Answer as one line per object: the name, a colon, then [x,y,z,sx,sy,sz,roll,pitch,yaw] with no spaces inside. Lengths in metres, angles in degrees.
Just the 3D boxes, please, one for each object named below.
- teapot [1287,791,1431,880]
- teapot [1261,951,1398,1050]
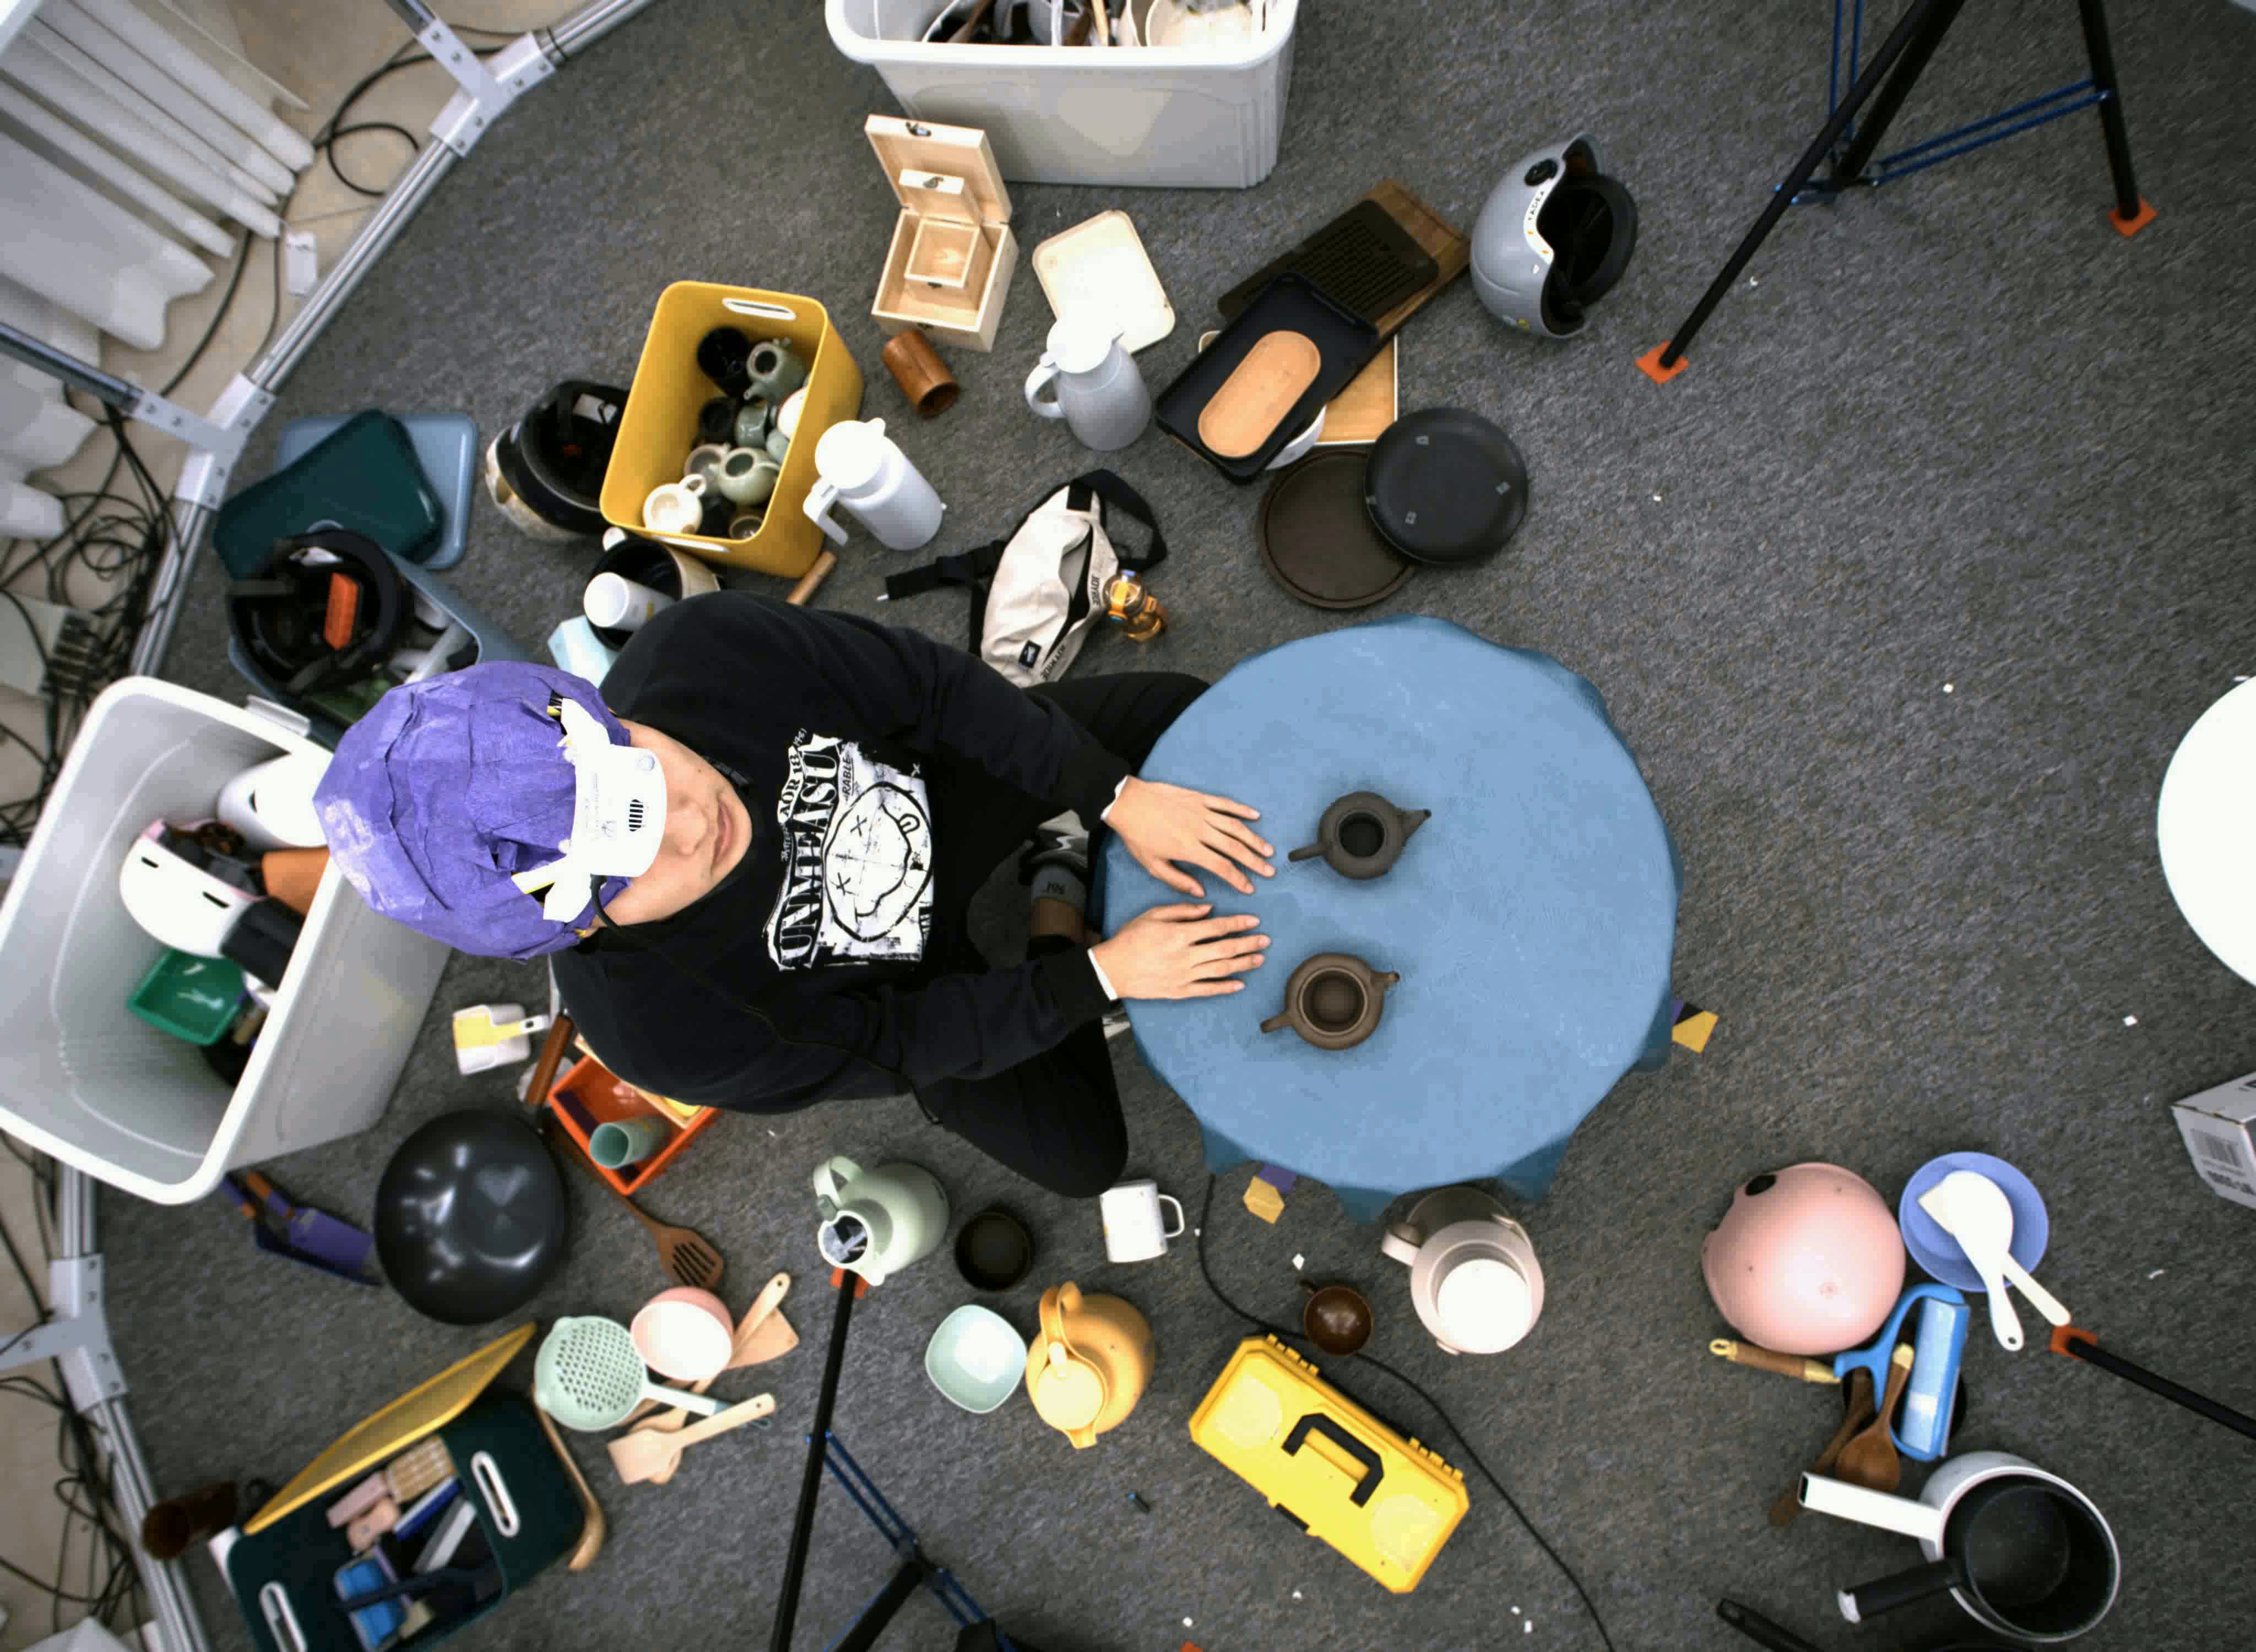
teapot: [0.240,0.010,1.438,0.155,0.064,0.091,-17,82,9]
teapot: [0.210,0.182,1.440,0.154,0.054,0.102,-28,80,8]
